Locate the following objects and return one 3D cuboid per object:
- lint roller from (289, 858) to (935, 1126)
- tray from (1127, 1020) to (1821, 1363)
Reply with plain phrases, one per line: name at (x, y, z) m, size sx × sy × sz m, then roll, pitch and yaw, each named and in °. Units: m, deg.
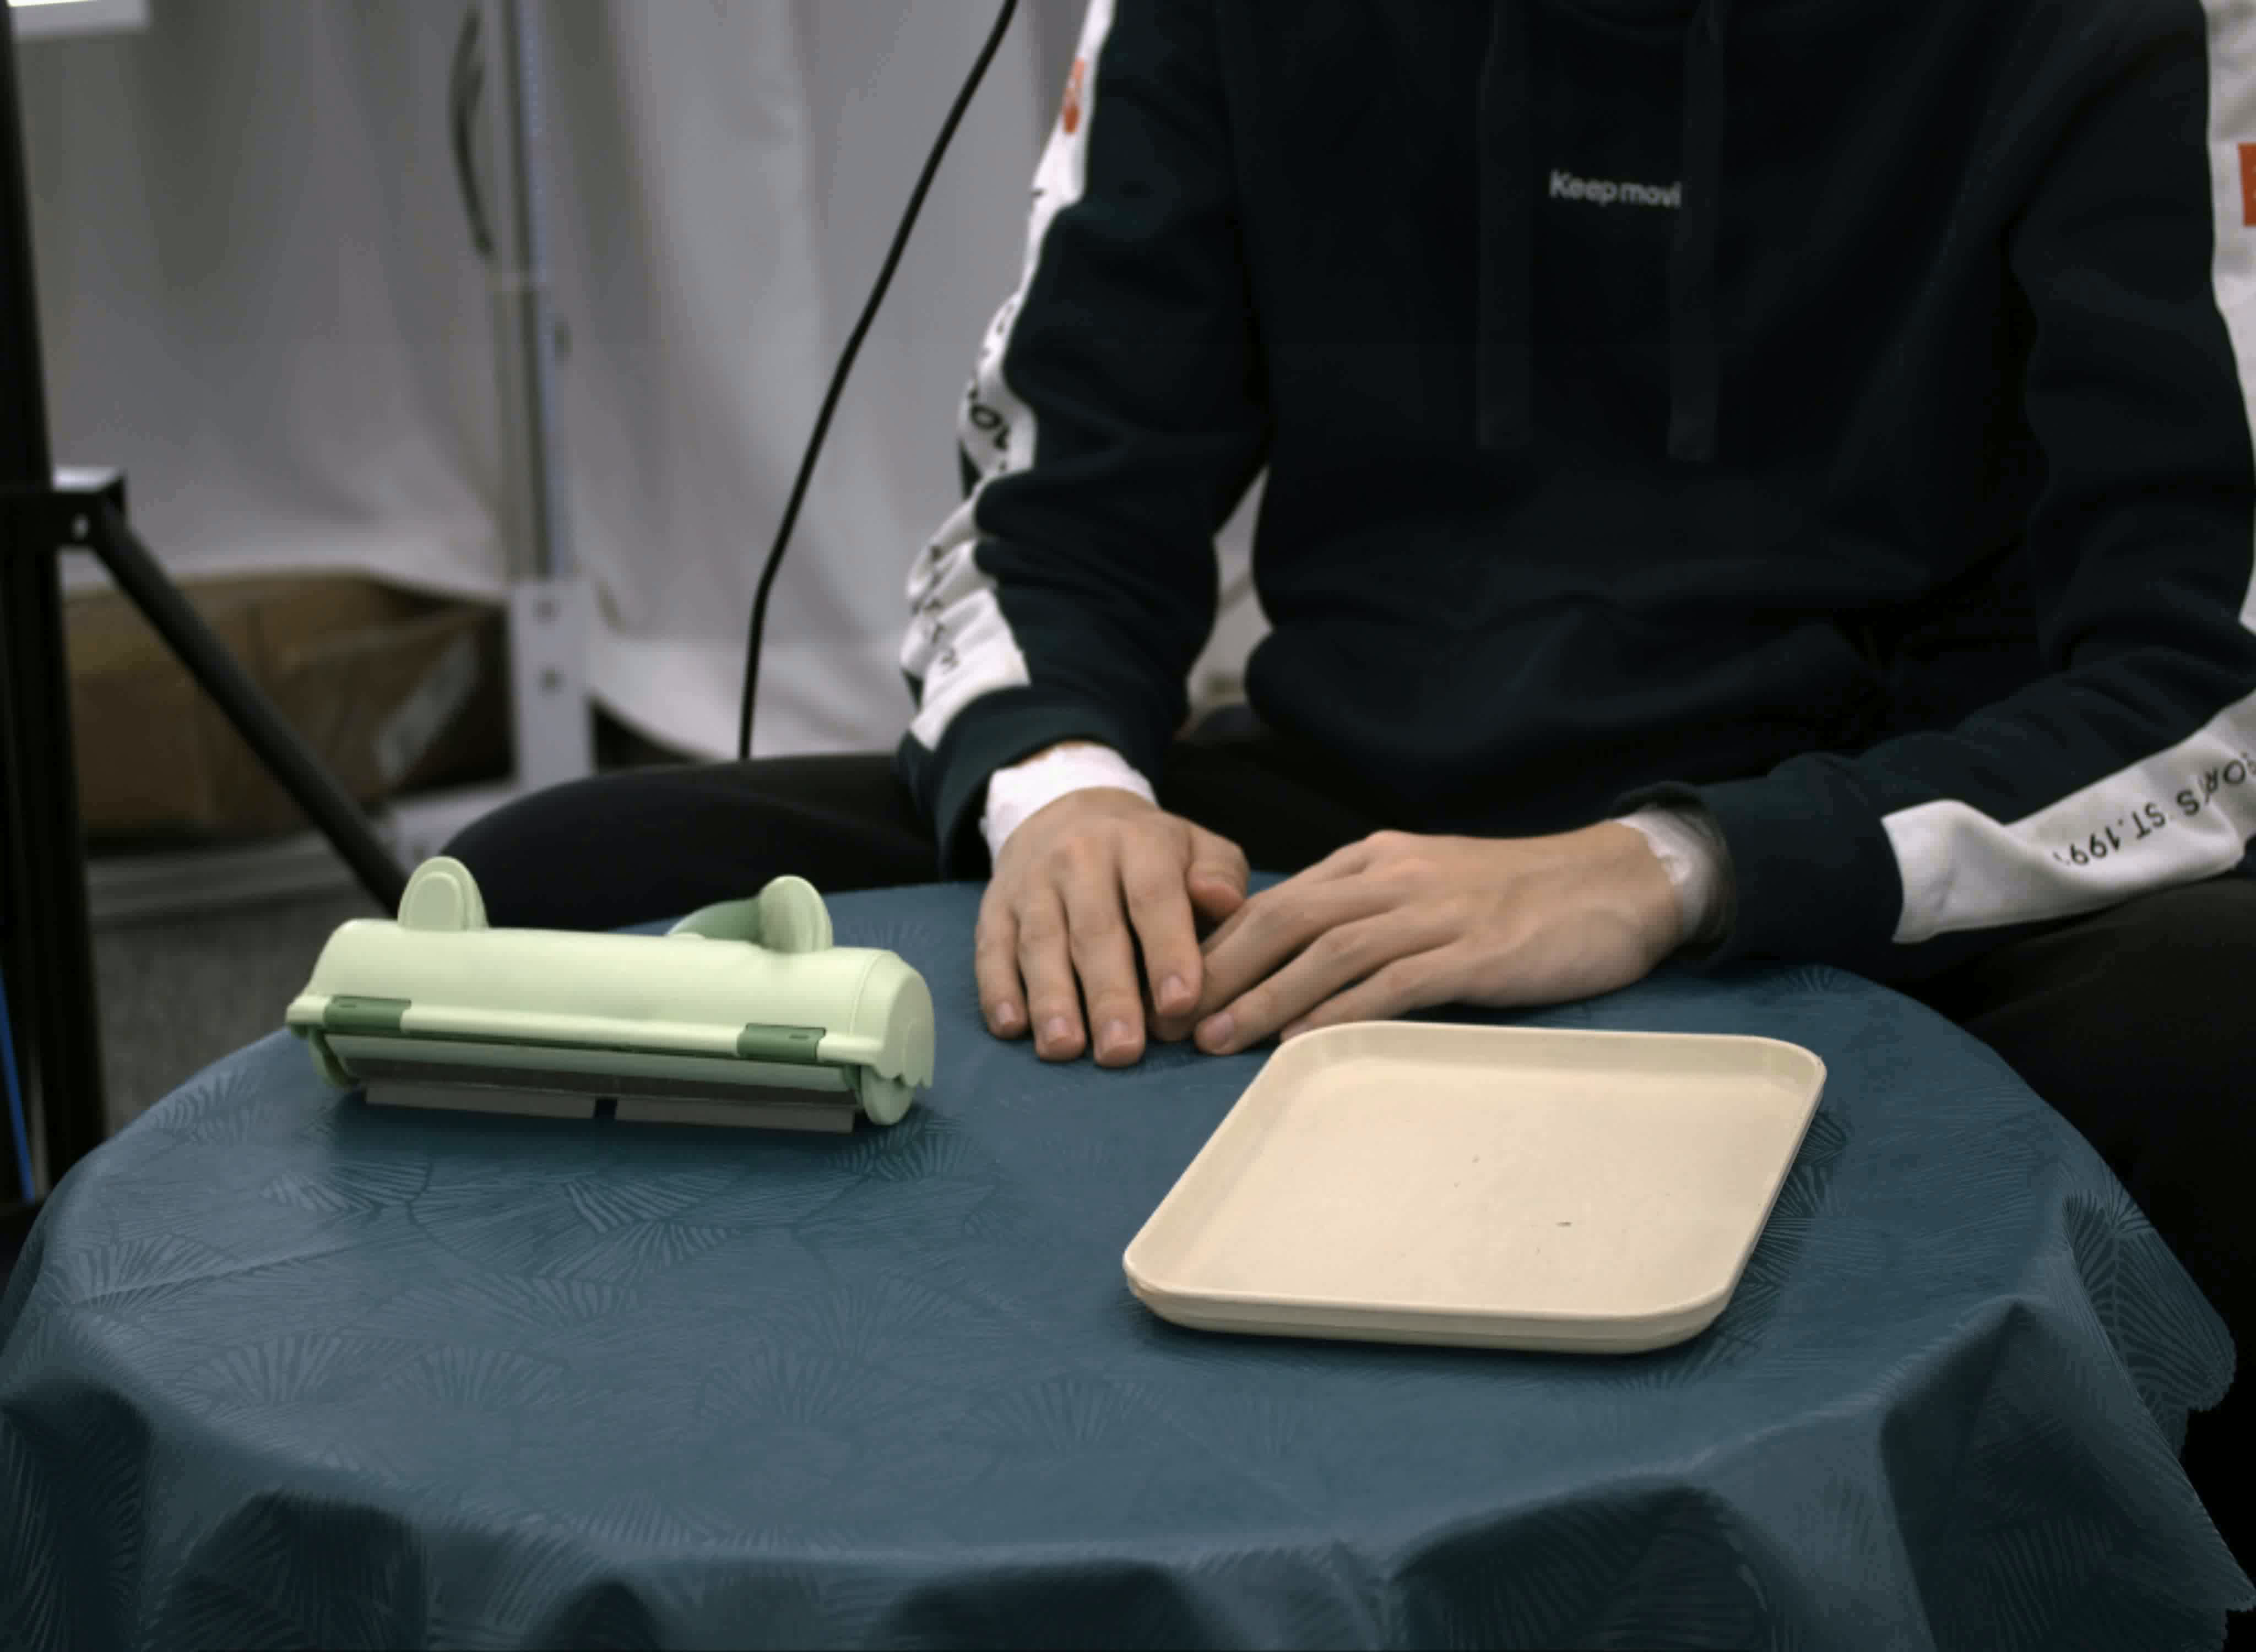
lint roller at (-0.143, 0.035, 1.698) m, size 0.200 × 0.082 × 0.182 m, roll 2°, pitch 21°, yaw 18°
tray at (0.104, 0.104, 1.523) m, size 0.173 × 0.017 × 0.238 m, roll 2°, pitch 17°, yaw 15°
